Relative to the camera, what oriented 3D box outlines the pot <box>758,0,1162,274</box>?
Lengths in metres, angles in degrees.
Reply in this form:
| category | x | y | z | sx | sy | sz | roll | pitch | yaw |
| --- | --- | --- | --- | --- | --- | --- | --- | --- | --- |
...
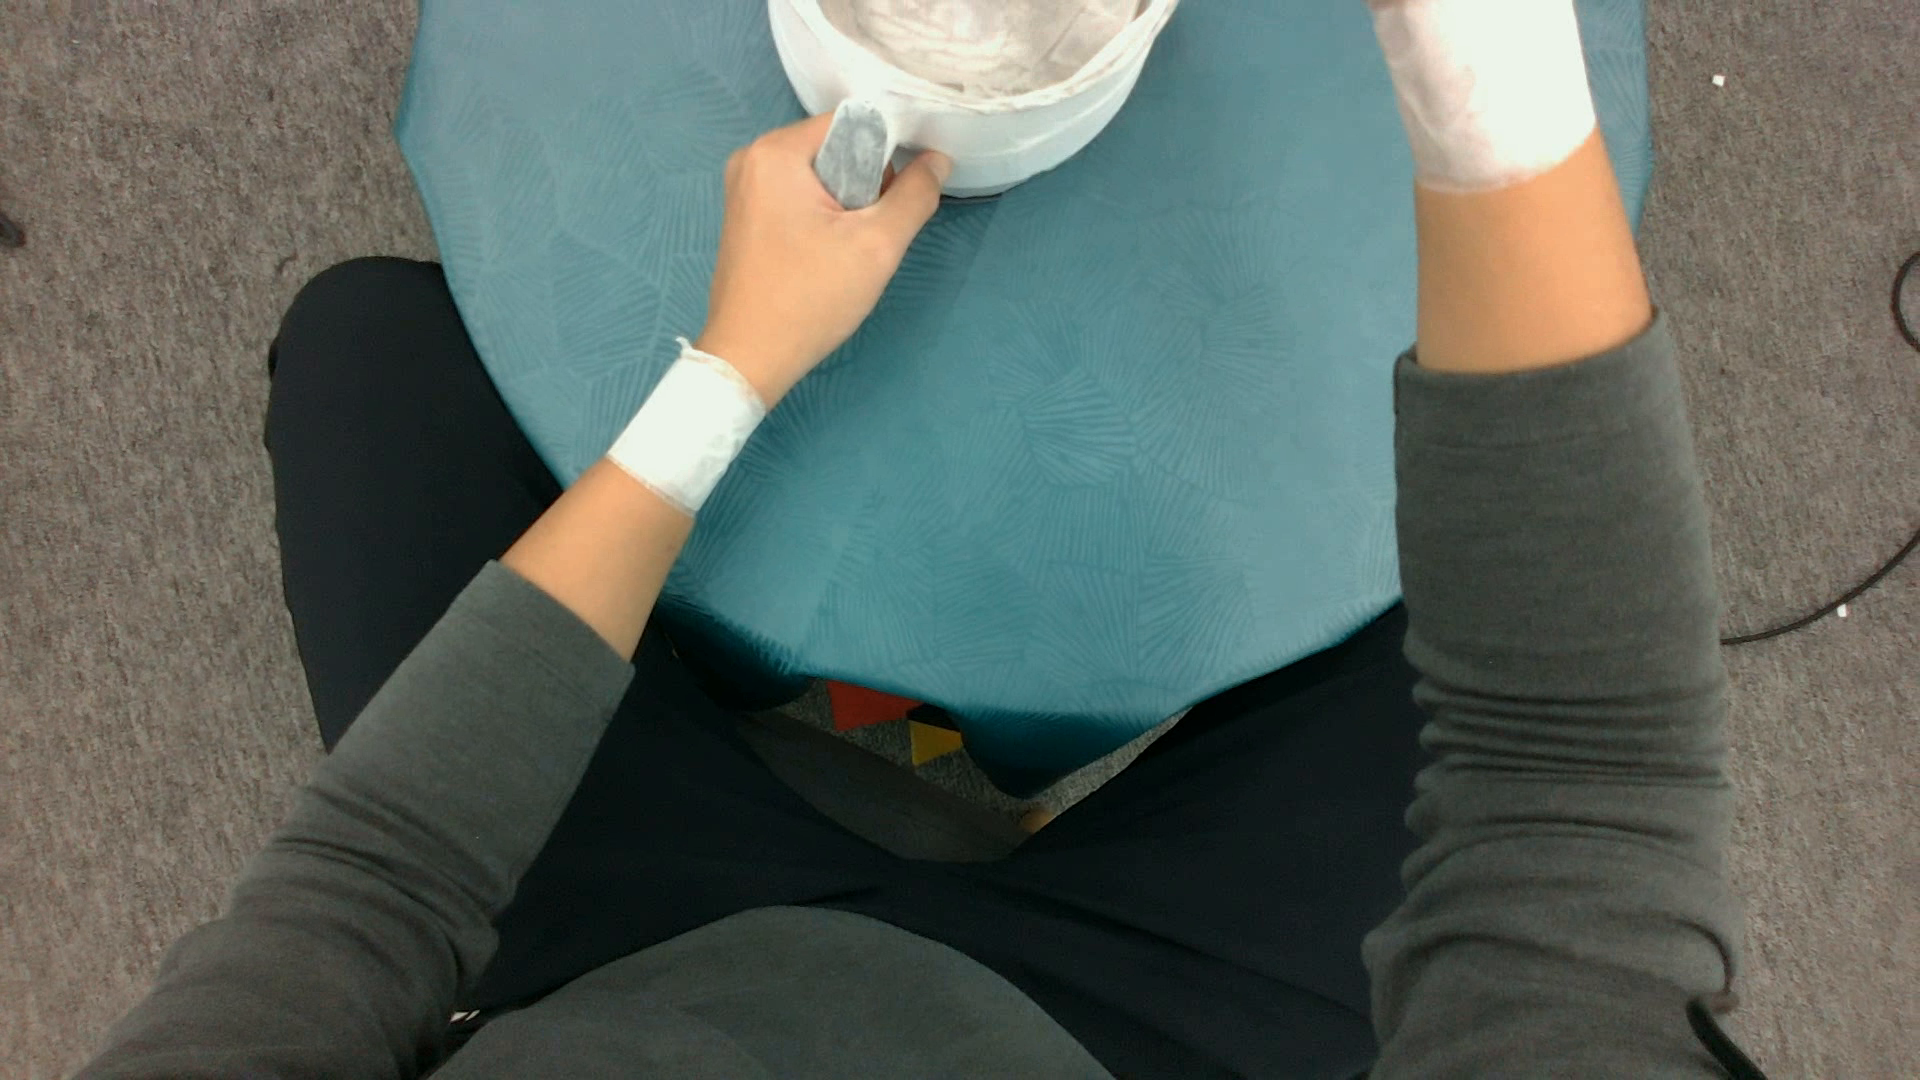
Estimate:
| category | x | y | z | sx | sy | sz | roll | pitch | yaw |
| --- | --- | --- | --- | --- | --- | --- | --- | --- | --- |
| pot | -0.013 | -0.230 | 0.597 | 0.179 | 0.136 | 0.234 | 25 | 87 | -3 |
